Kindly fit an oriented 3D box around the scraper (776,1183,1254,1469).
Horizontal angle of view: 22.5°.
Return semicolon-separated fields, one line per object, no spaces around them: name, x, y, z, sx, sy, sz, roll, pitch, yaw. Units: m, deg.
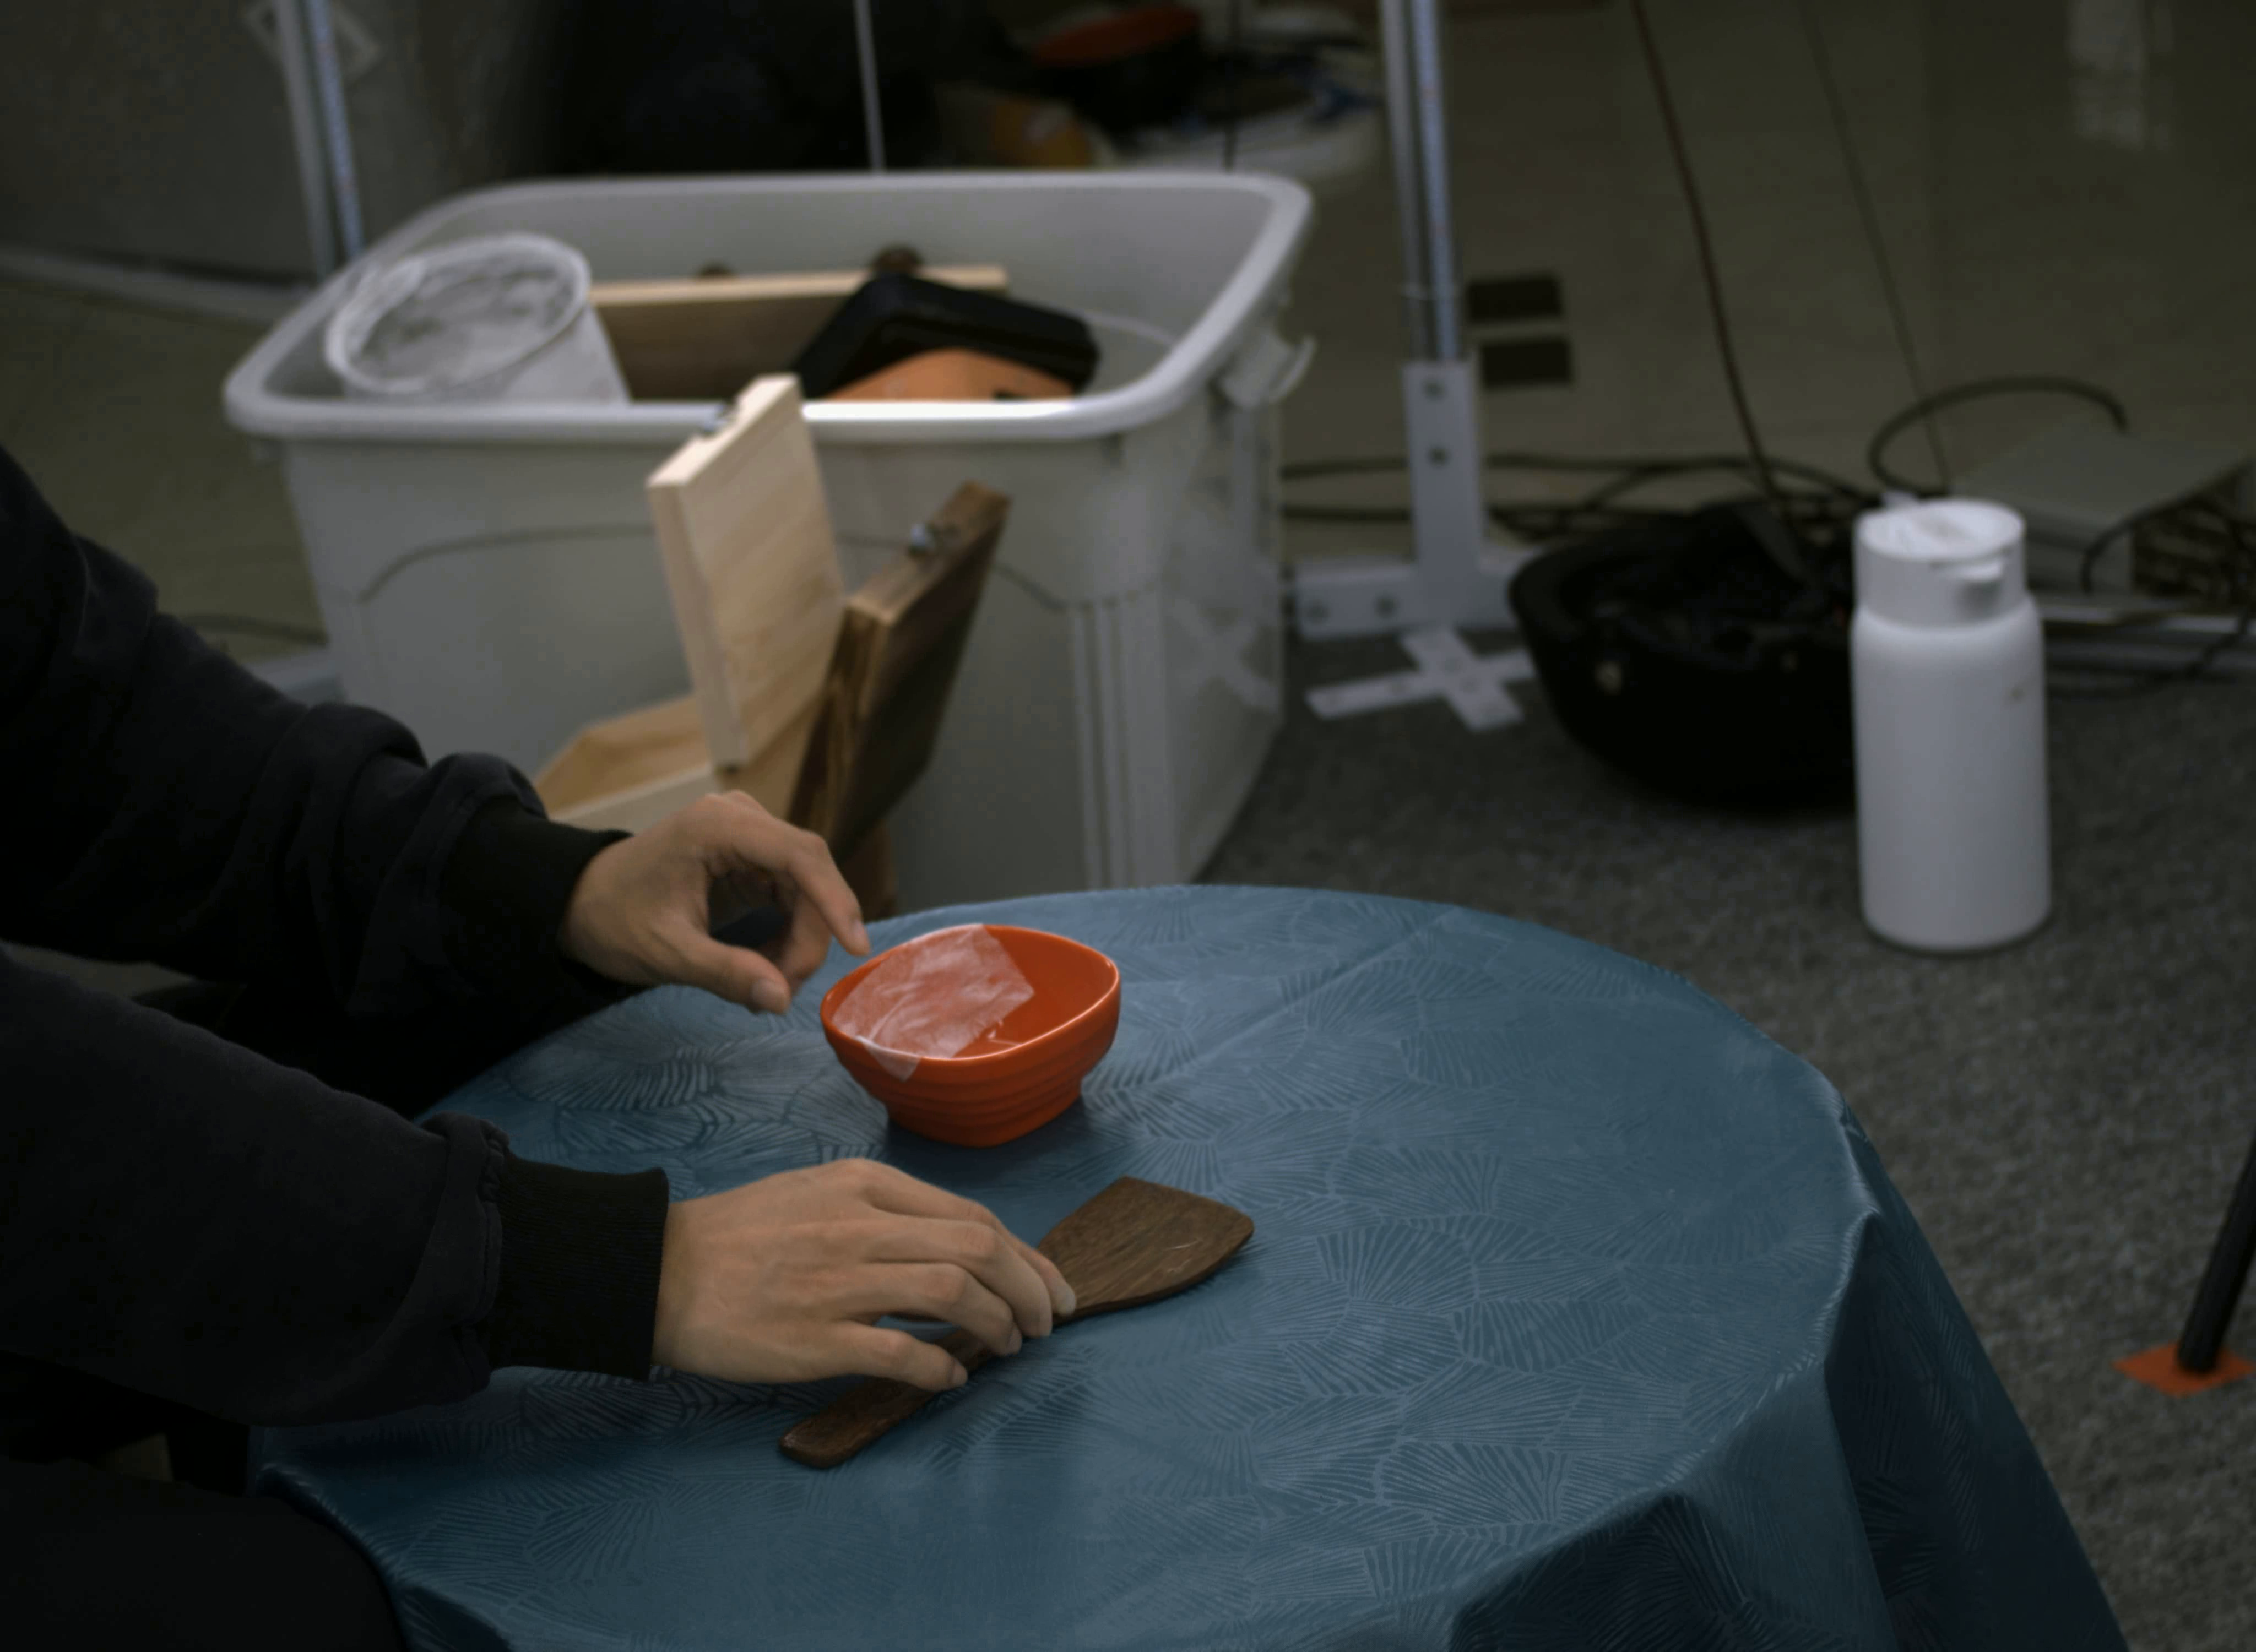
scraper;-0.046;0.183;2.061;0.075;0.011;0.209;16;34;42

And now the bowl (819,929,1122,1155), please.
bowl;-0.059;0.089;2.218;0.119;0.052;0.117;-5;26;2
